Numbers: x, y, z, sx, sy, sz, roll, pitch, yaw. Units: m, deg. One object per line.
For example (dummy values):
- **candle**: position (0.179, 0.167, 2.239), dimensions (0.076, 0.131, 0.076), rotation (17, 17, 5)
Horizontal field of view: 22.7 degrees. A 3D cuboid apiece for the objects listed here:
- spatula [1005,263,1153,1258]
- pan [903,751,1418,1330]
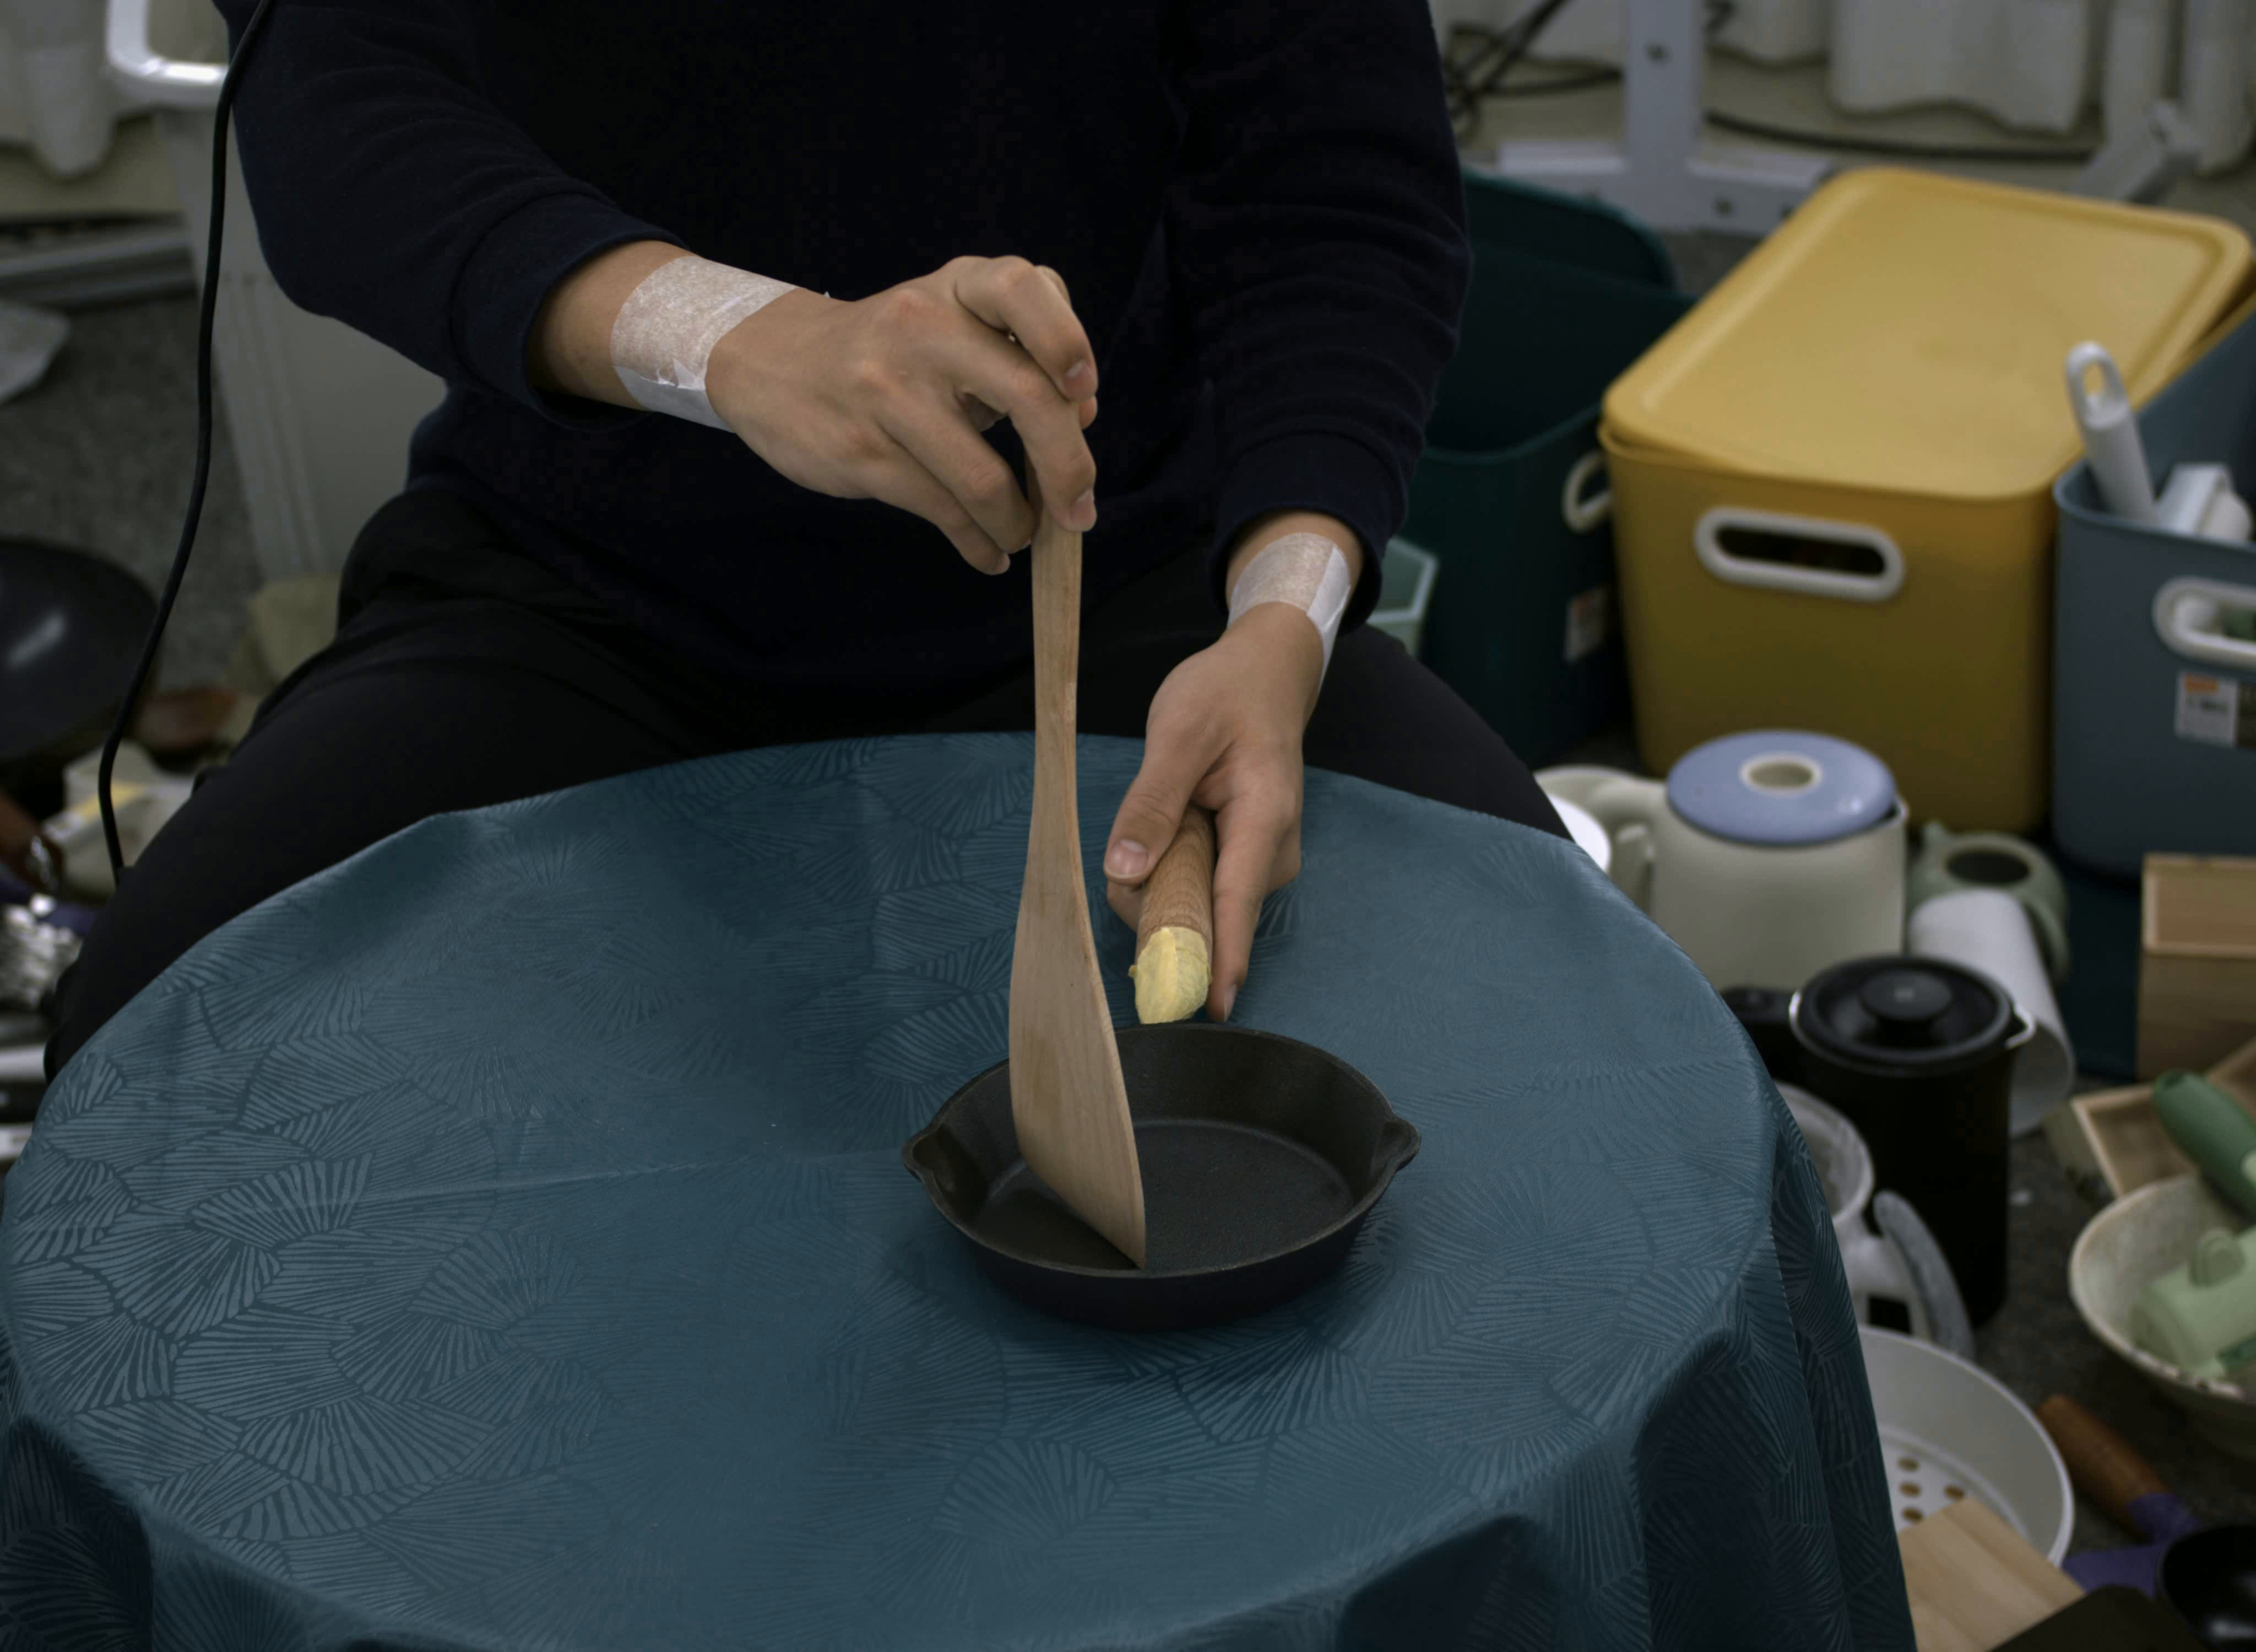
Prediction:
- **spatula**: position (-0.020, -0.018, 1.791), dimensions (0.016, 0.326, 0.080), rotation (-11, 19, -31)
- **pan**: position (0.017, 0.070, 1.906), dimensions (0.168, 0.049, 0.329), rotation (0, 29, 5)
